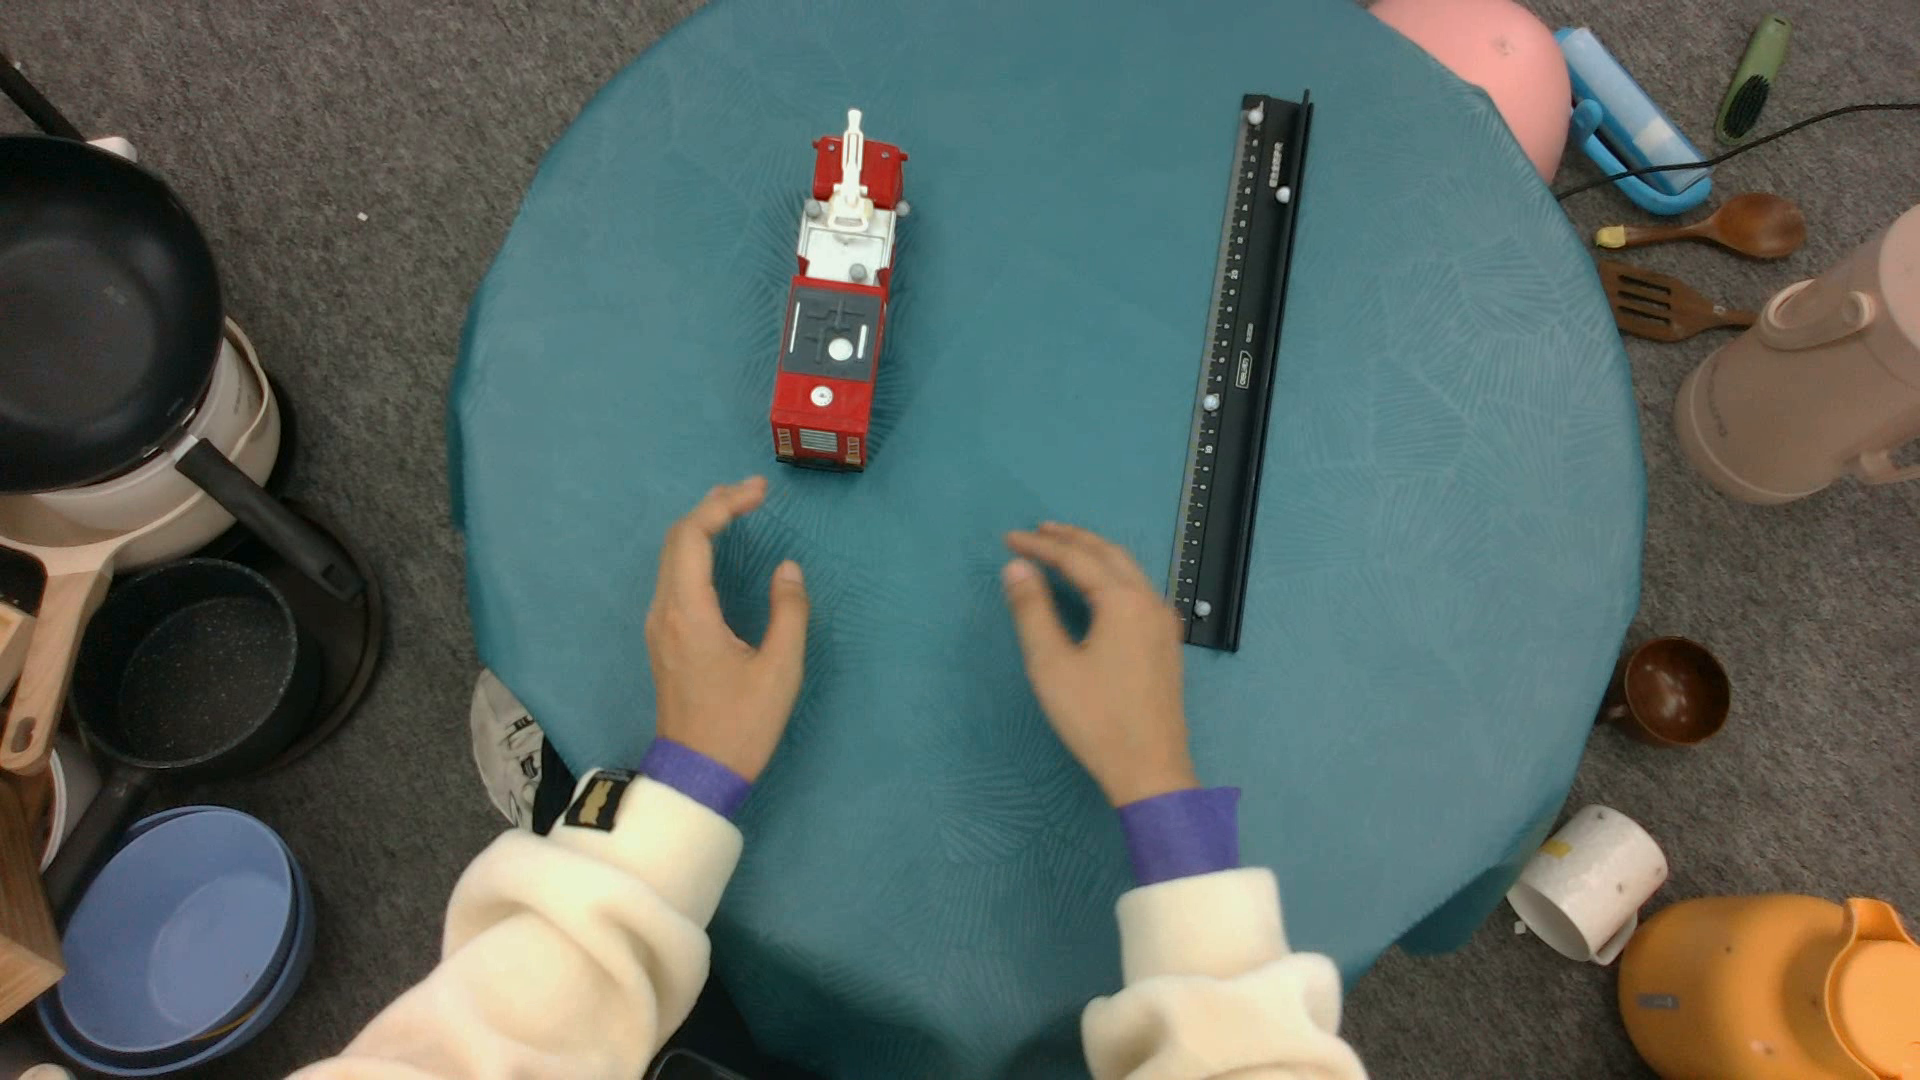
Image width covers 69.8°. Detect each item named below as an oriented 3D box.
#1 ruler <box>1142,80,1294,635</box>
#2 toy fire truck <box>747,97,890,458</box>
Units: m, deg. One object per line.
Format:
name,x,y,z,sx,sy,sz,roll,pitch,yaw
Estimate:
ruler,0.136,-0.105,0.707,0.039,0.017,0.313,11,73,2
toy fire truck,-0.069,-0.126,0.675,0.054,0.070,0.168,8,75,-4
